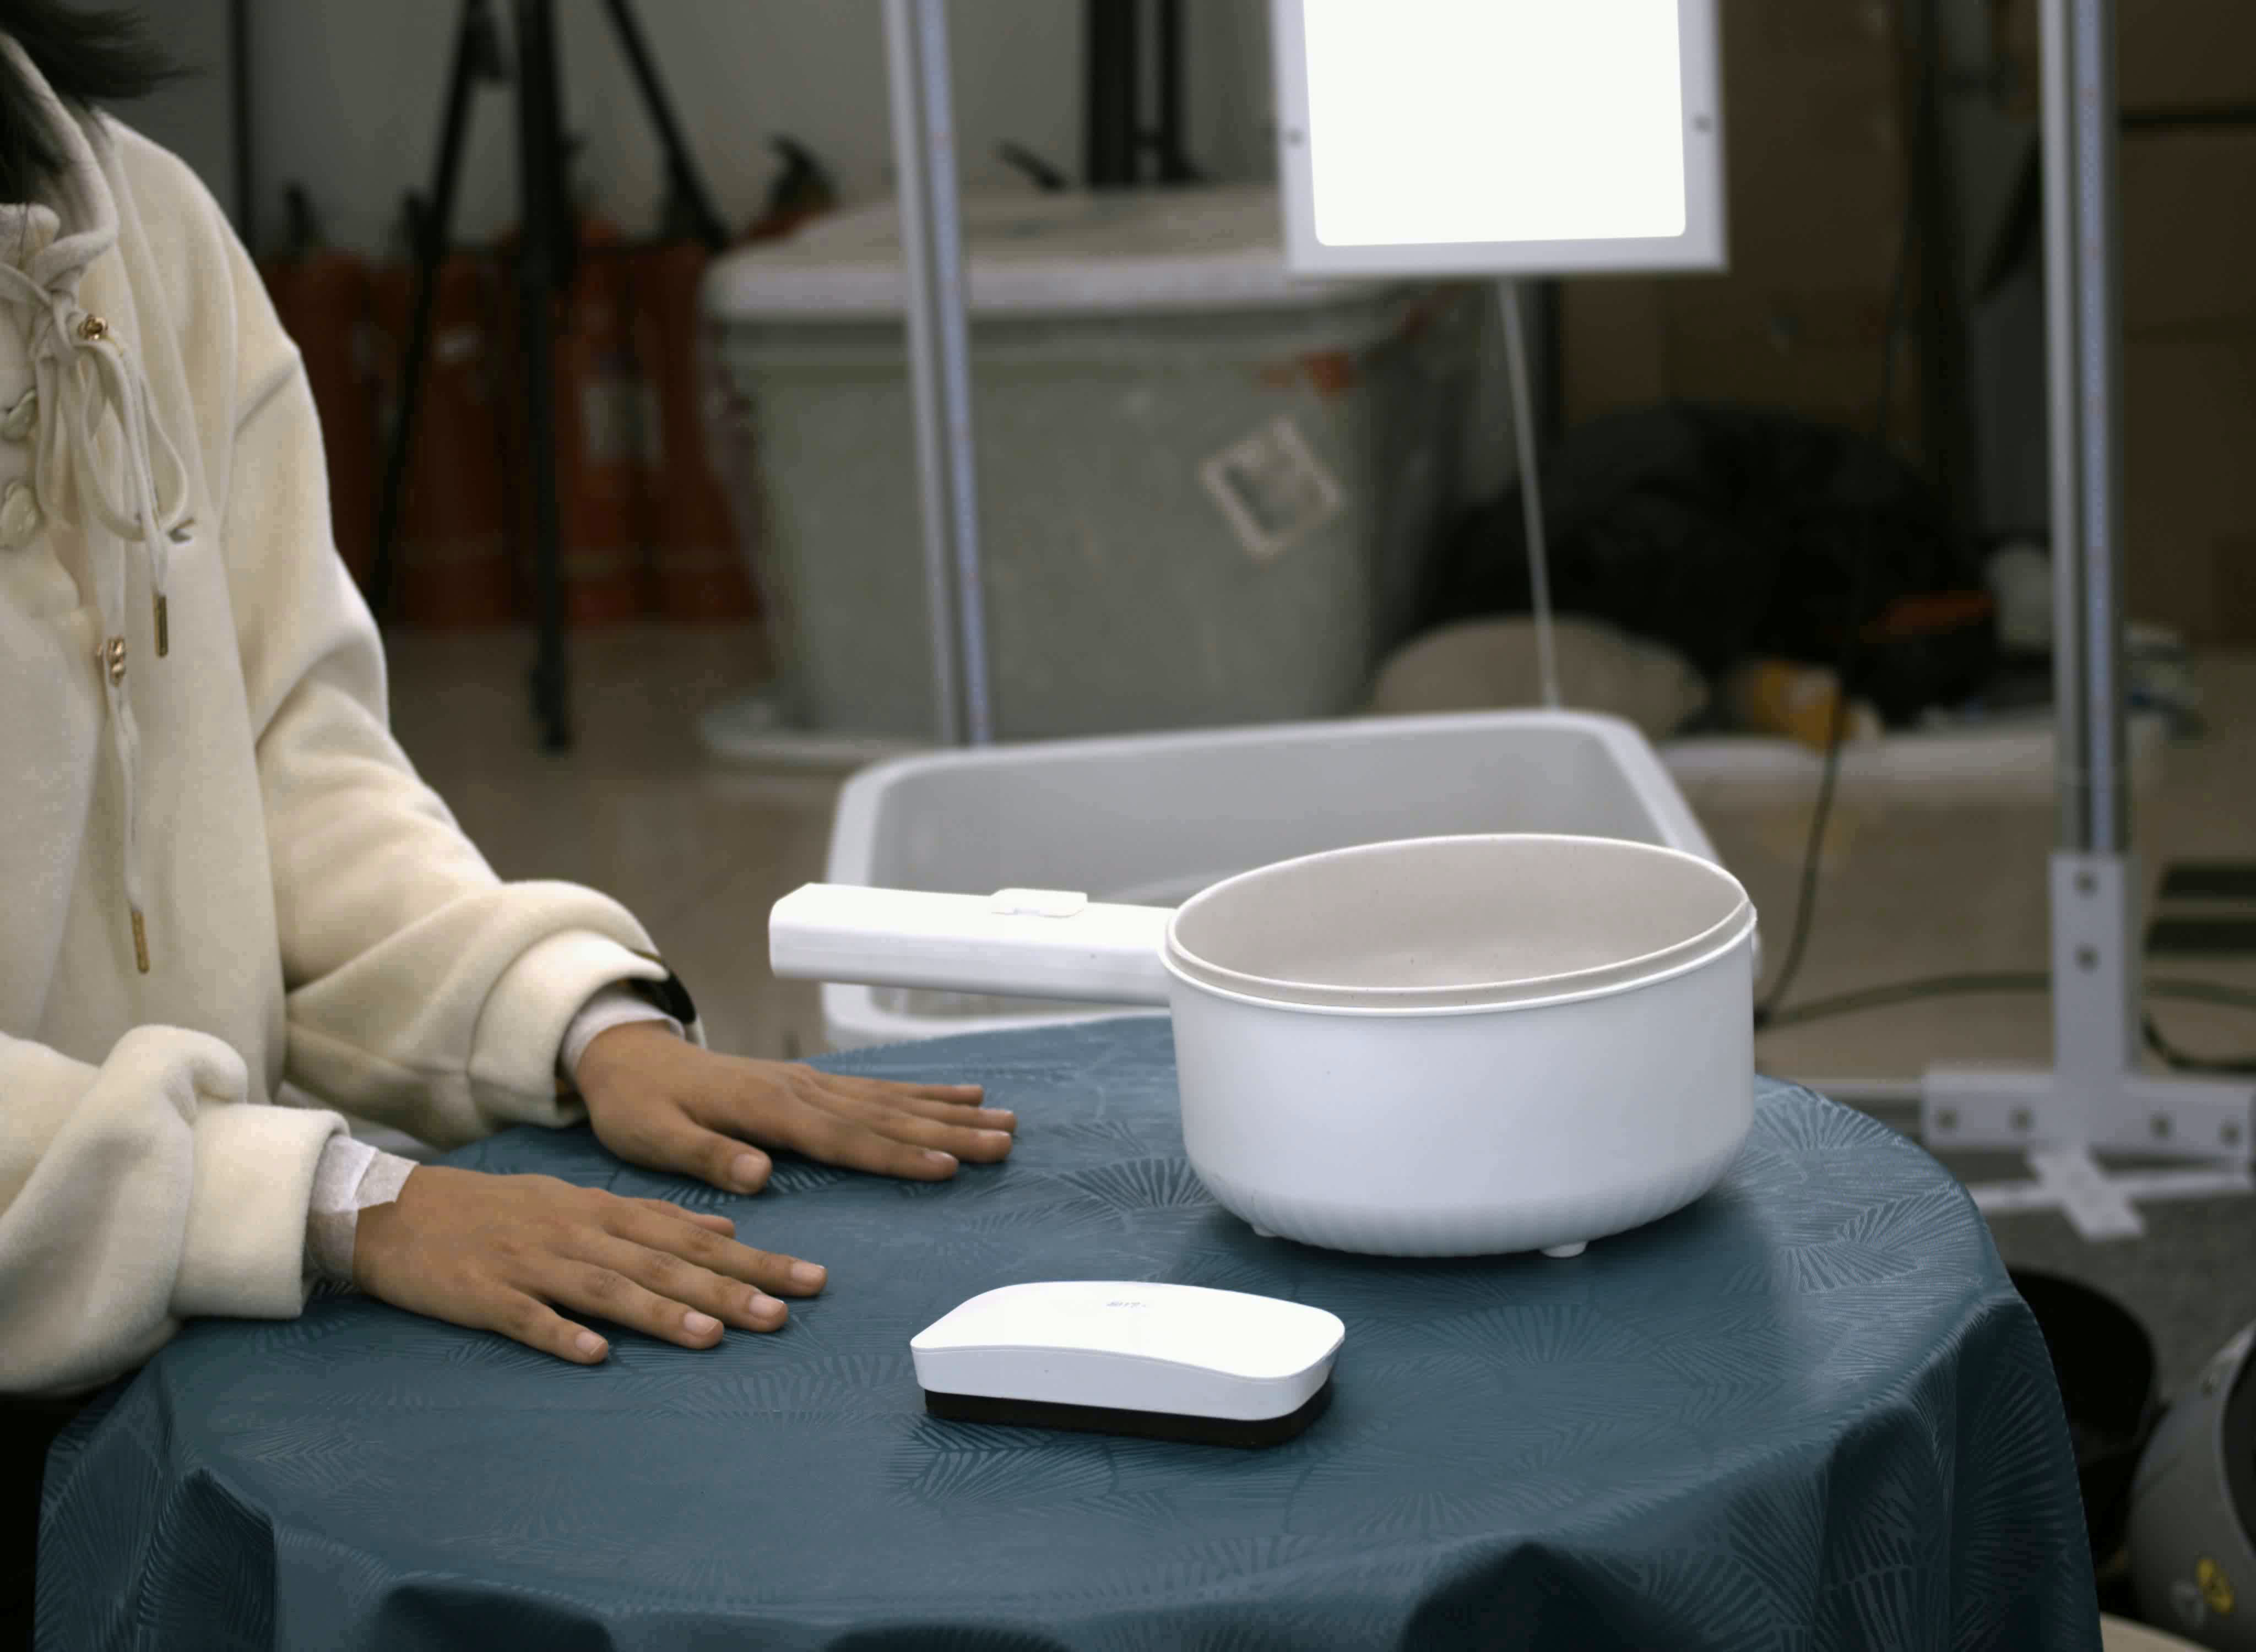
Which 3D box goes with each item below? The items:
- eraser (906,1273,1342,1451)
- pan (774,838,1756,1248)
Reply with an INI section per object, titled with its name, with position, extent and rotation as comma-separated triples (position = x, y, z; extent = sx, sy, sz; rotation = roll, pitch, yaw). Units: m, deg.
[eraser]
position = 0.000, 0.163, 1.685
extent = 0.133, 0.034, 0.062
rotation = 3, 13, 28
[pan]
position = 0.044, 0.075, 1.884
extent = 0.361, 0.102, 0.197
rotation = -1, 13, 27
